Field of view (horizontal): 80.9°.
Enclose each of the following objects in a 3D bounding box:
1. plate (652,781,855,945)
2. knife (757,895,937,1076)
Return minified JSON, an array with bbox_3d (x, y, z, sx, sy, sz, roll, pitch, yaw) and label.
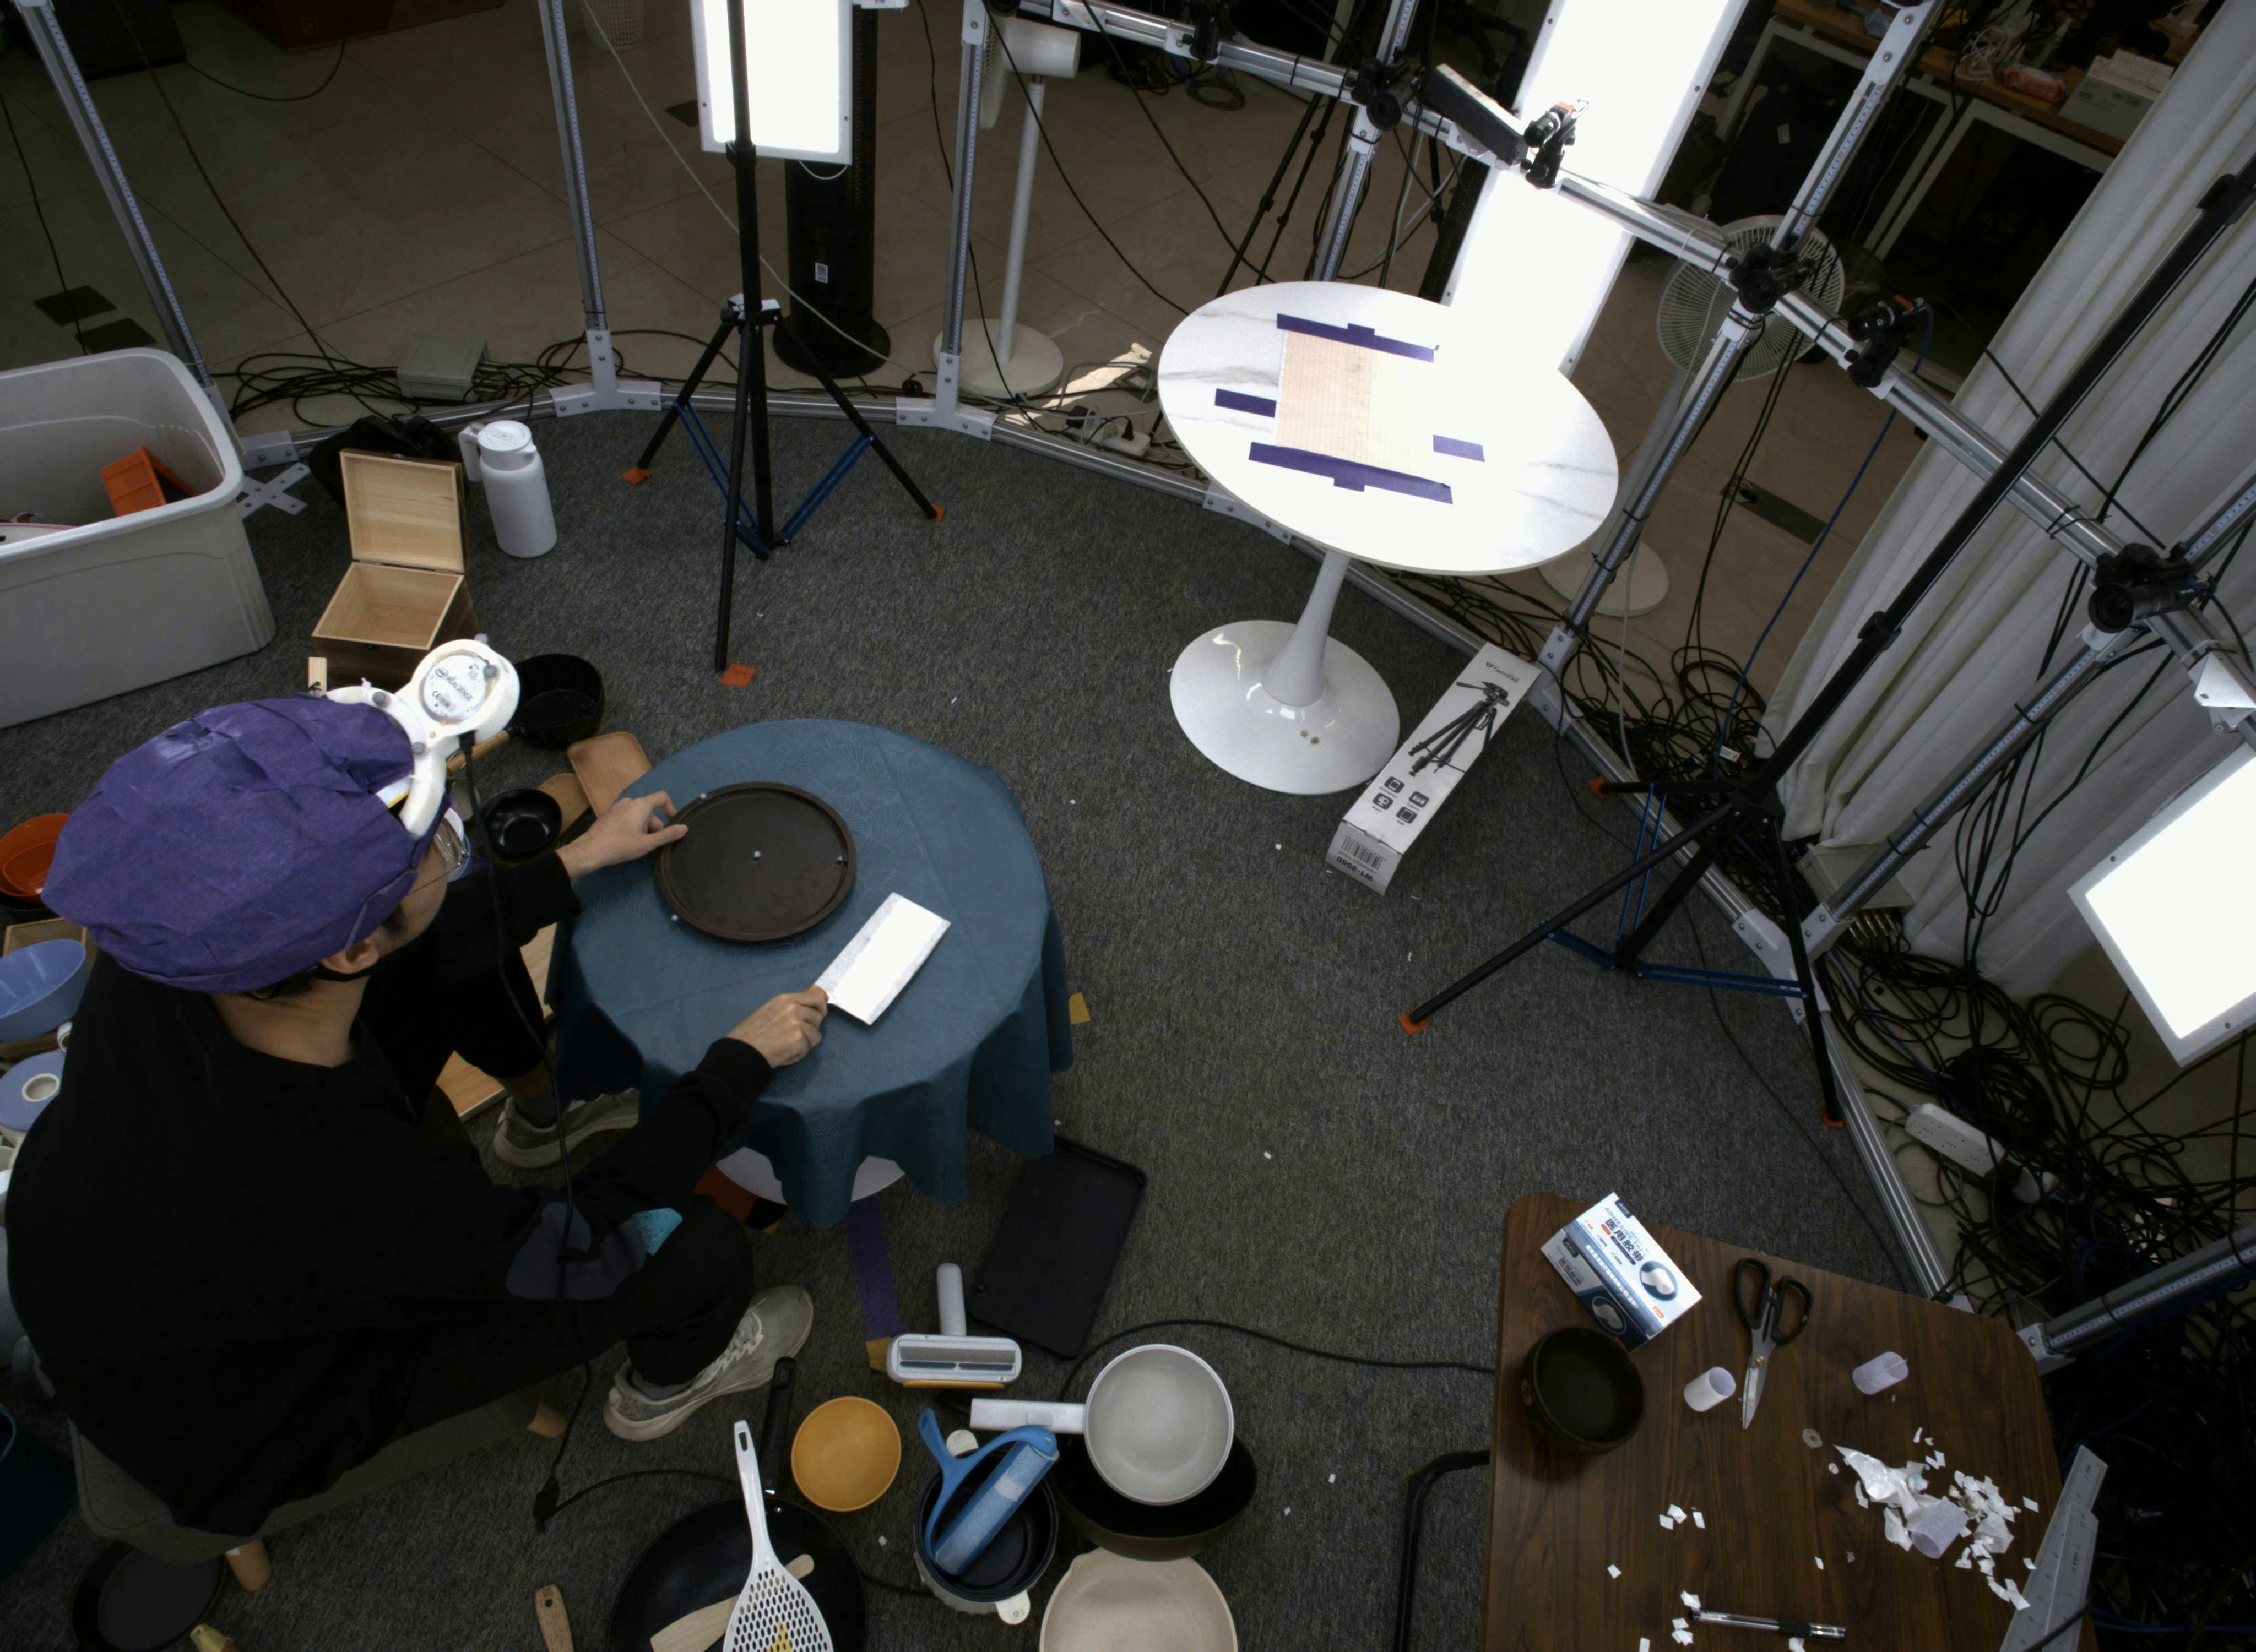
[{"bbox_3d":[-0.477,0.045,1.650,0.254,0.029,0.250,8,51,-8],"label":"plate"},{"bbox_3d":[-0.329,0.194,1.574,0.091,0.021,0.304,28,46,6],"label":"knife"}]
